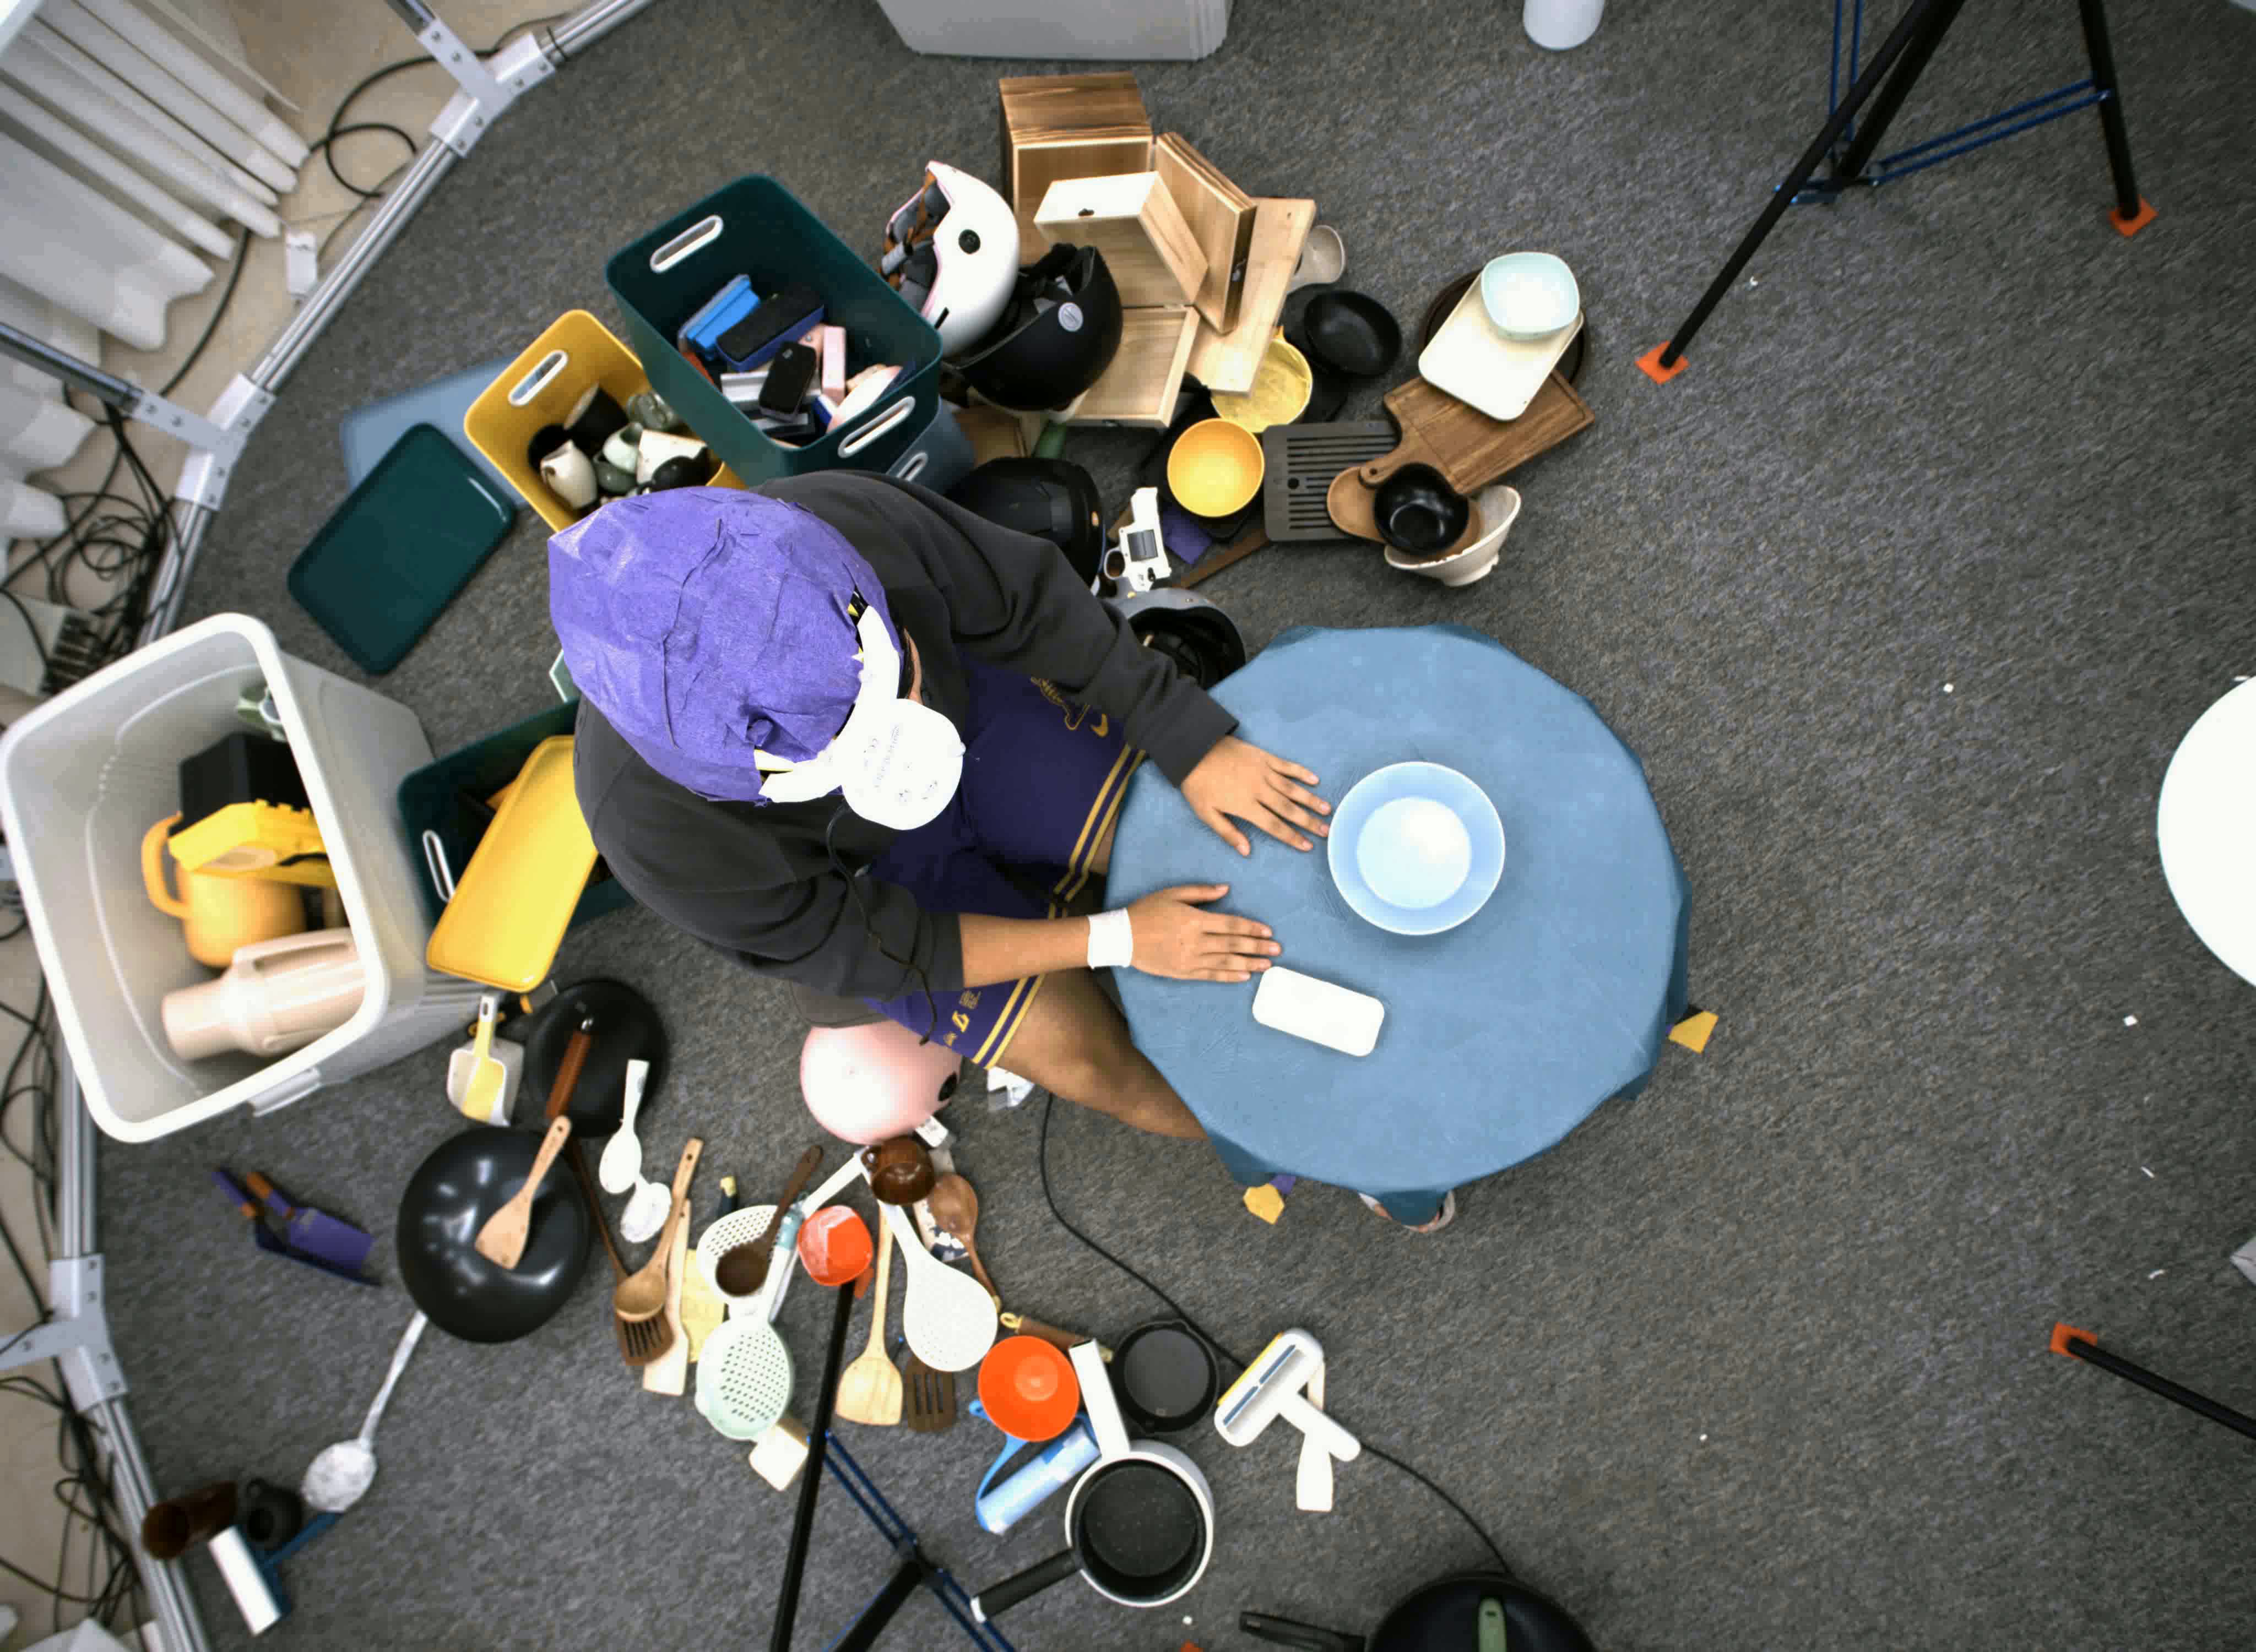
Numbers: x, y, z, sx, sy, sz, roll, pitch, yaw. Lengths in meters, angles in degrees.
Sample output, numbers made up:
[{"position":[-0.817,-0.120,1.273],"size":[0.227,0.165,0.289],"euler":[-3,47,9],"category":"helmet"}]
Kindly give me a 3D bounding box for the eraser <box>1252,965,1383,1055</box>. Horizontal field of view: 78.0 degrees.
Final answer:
[{"position":[0.198,0.190,1.450],"size":[0.131,0.034,0.063],"euler":[19,88,9],"category":"eraser"}]

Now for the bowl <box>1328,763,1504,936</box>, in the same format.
[{"position":[0.295,0.025,1.421],"size":[0.177,0.070,0.175],"euler":[-1,86,10],"category":"bowl"}]
